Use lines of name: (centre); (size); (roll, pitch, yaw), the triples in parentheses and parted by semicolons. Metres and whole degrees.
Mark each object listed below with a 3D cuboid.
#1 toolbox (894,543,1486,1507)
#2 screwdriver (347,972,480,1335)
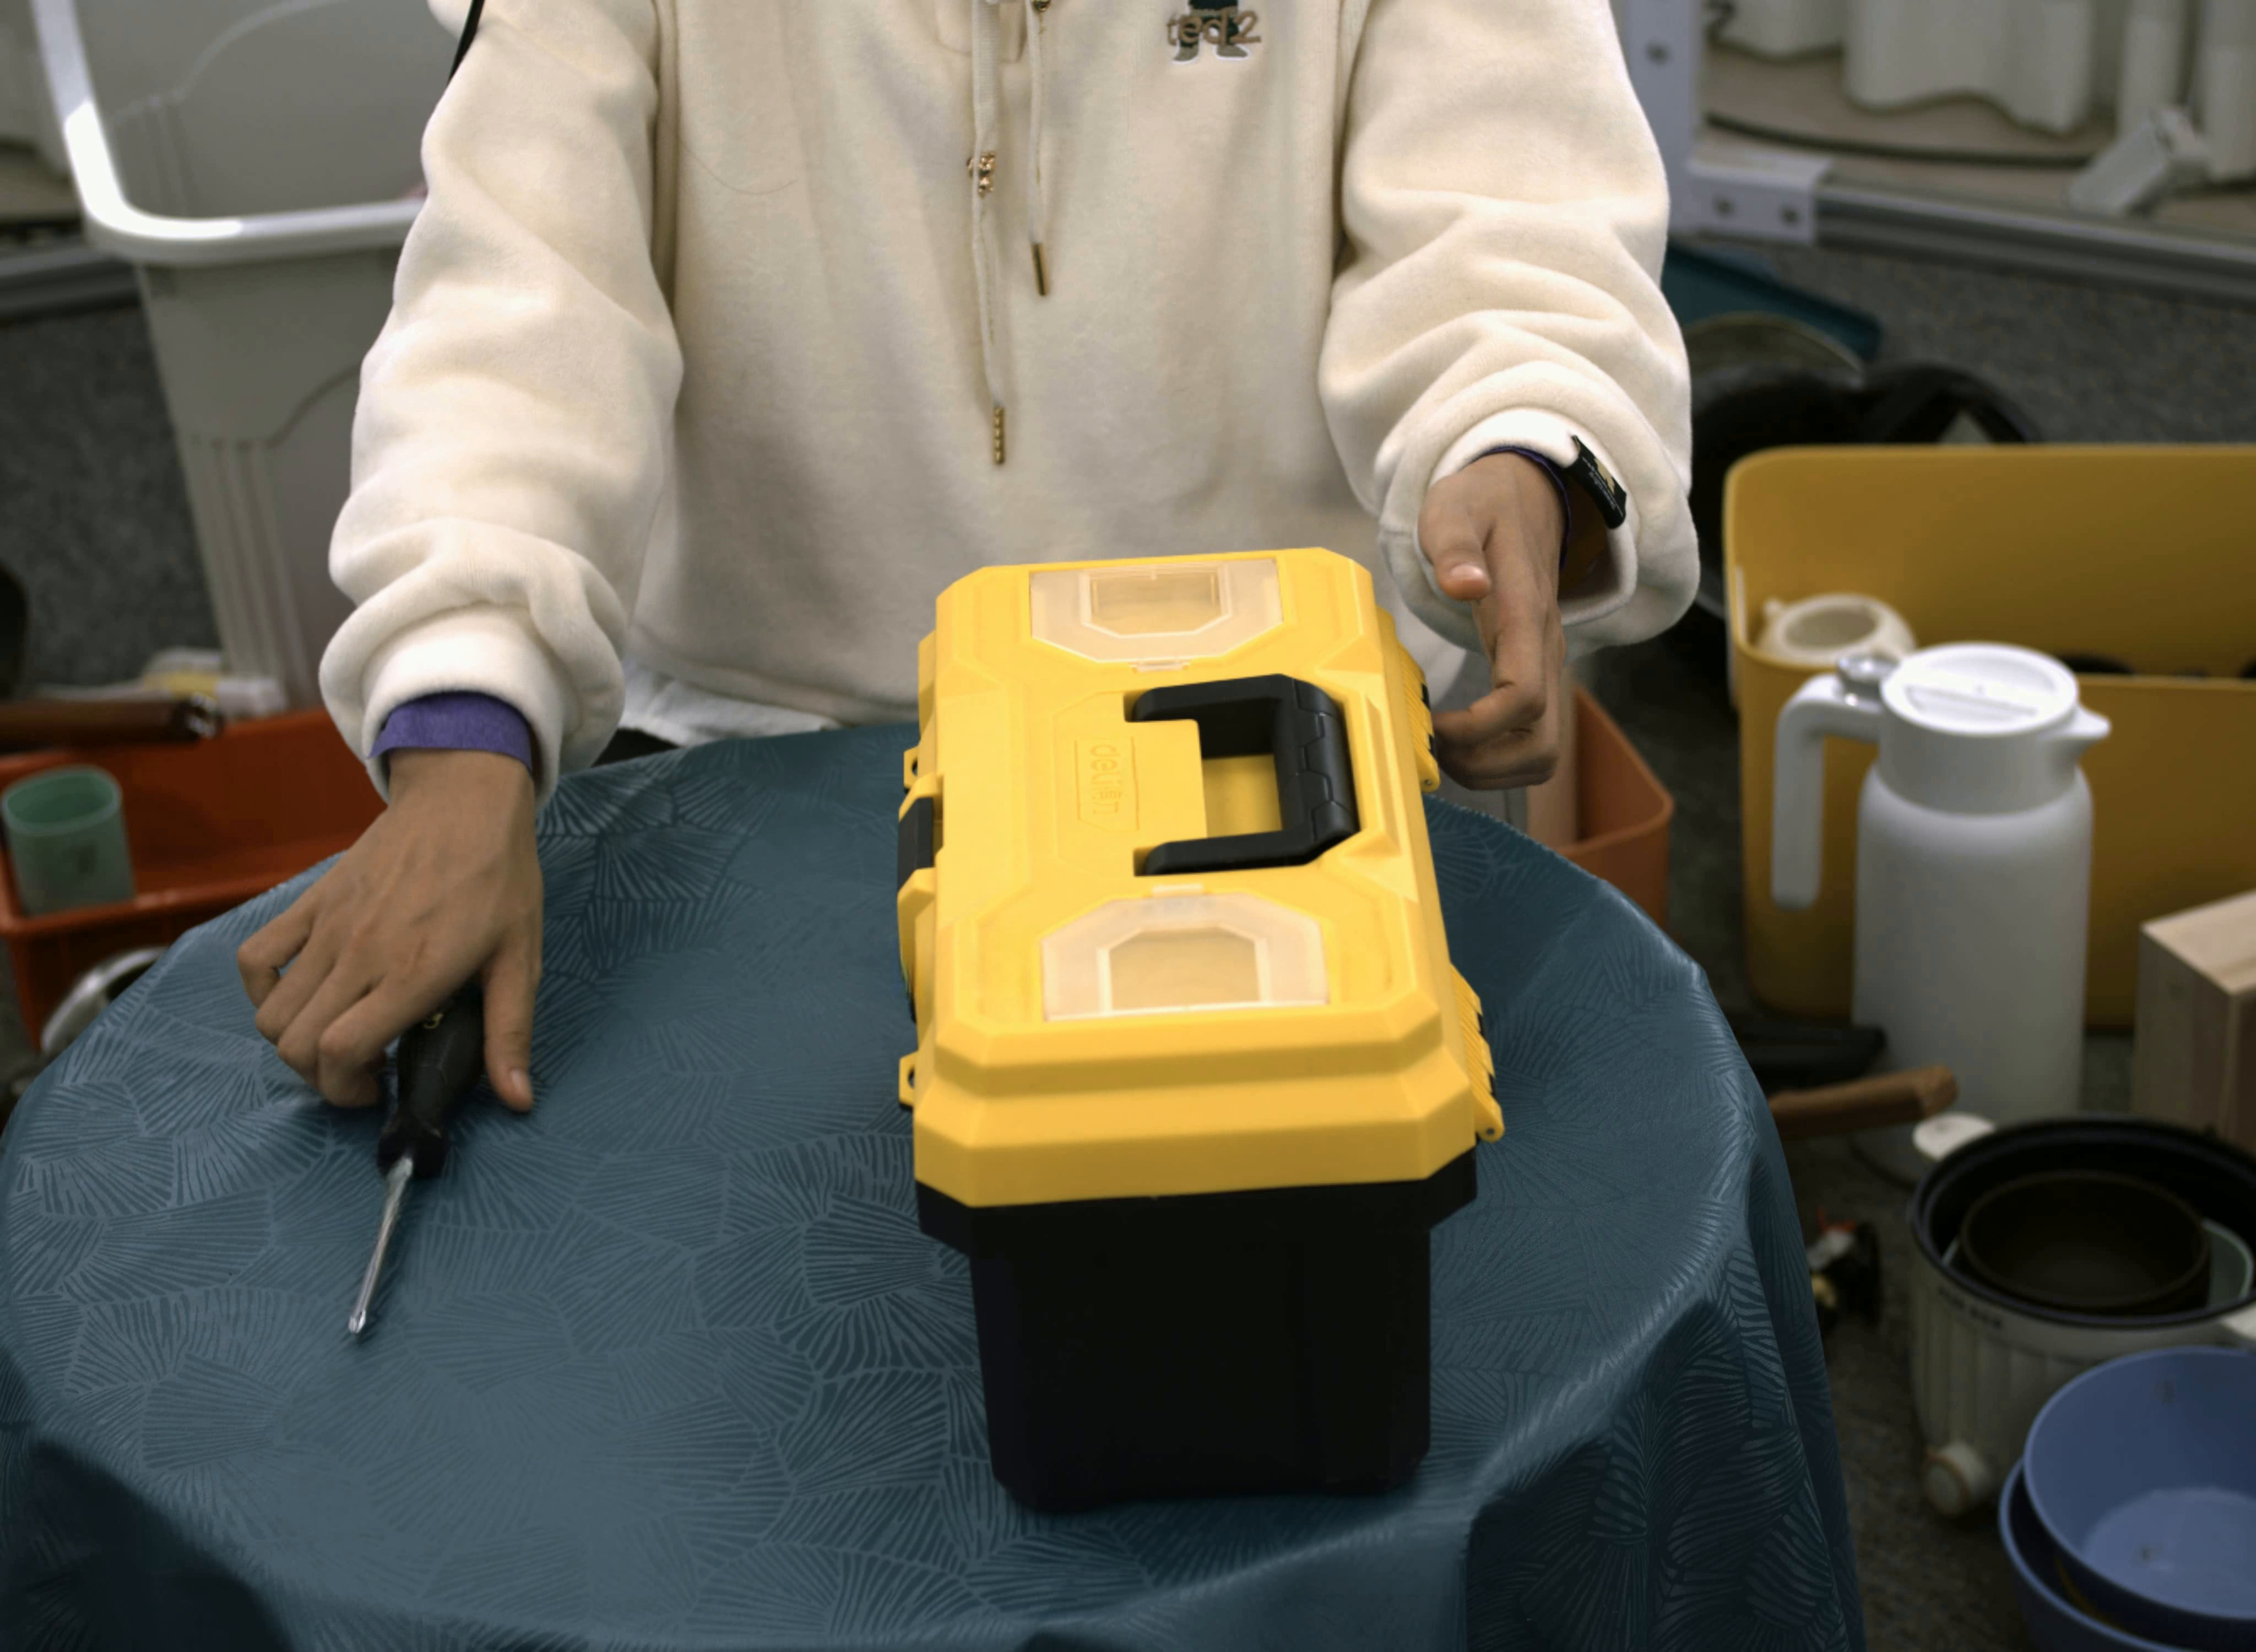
toolbox: (0.017, 0.056, 1.799); (0.180, 0.171, 0.357); (-3, 27, 0)
screwdriver: (-0.244, 0.108, 1.878); (0.031, 0.031, 0.199); (0, 29, 5)
